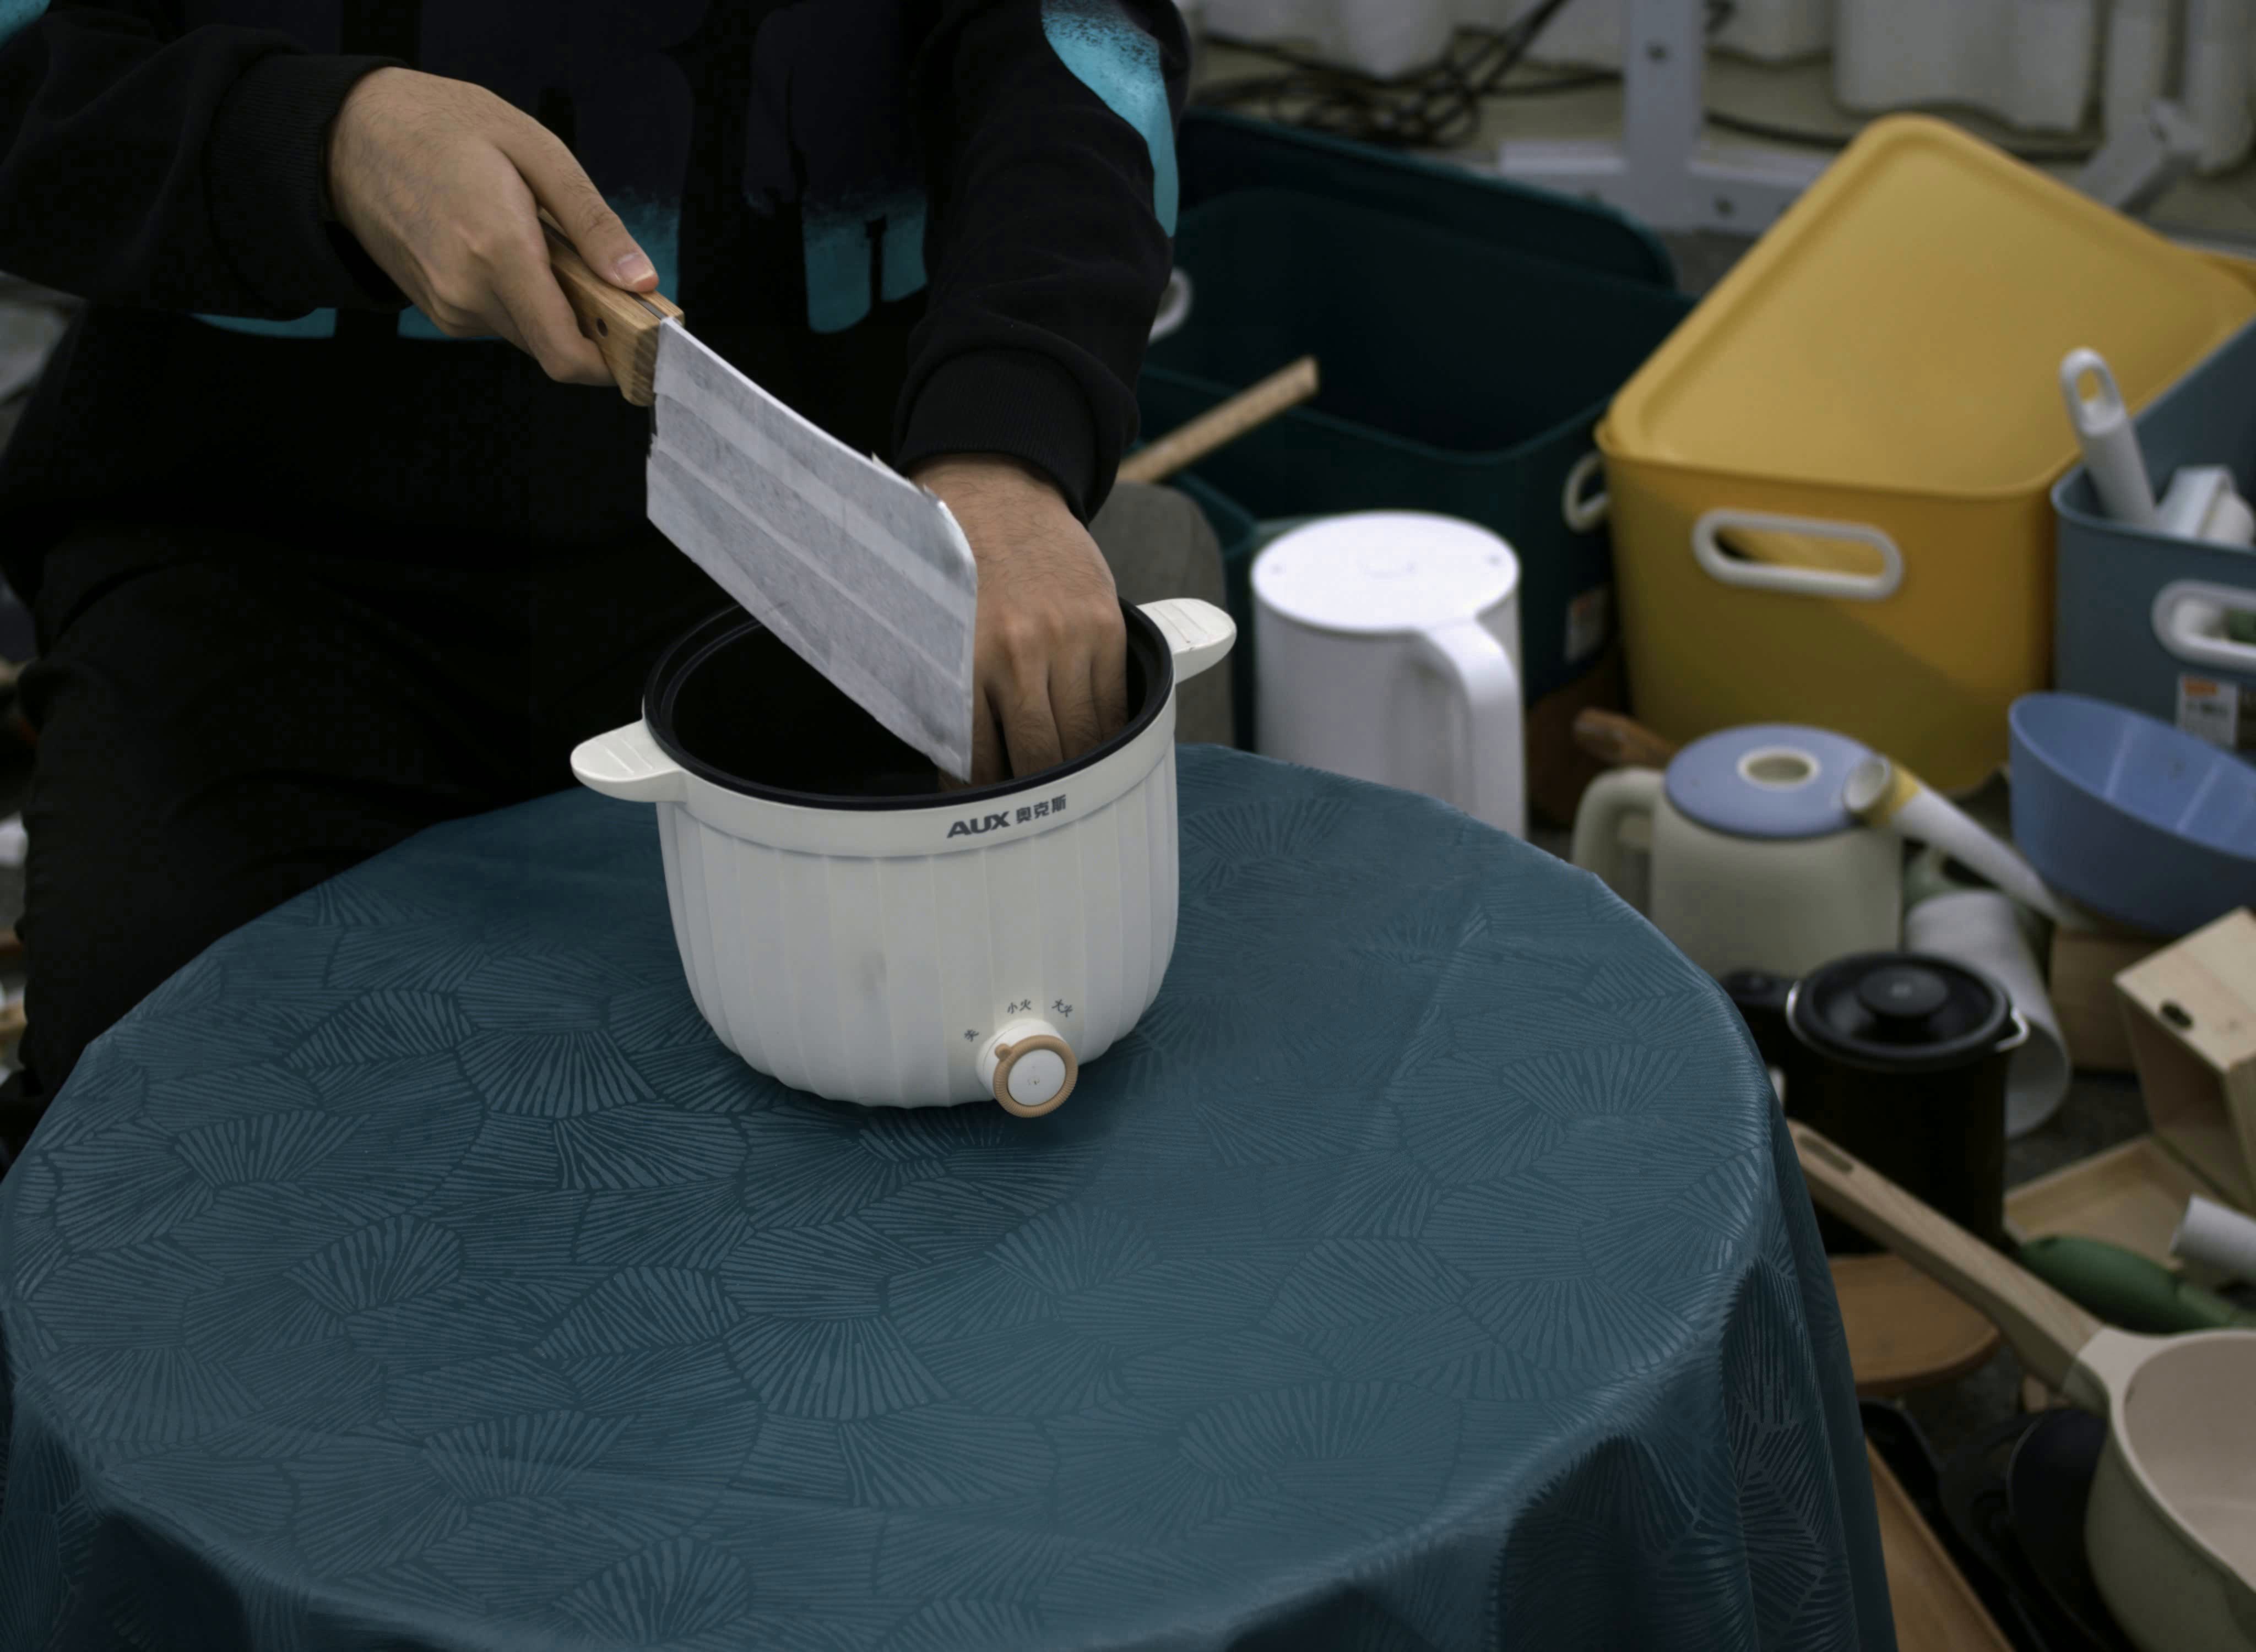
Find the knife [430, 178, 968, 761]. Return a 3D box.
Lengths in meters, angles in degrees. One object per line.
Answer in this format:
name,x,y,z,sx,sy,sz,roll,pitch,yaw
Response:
knife,-0.145,-0.136,1.920,0.022,0.112,0.317,-20,46,-34

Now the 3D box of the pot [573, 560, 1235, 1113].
pot,-0.067,0.009,1.936,0.241,0.141,0.191,-15,26,-19
